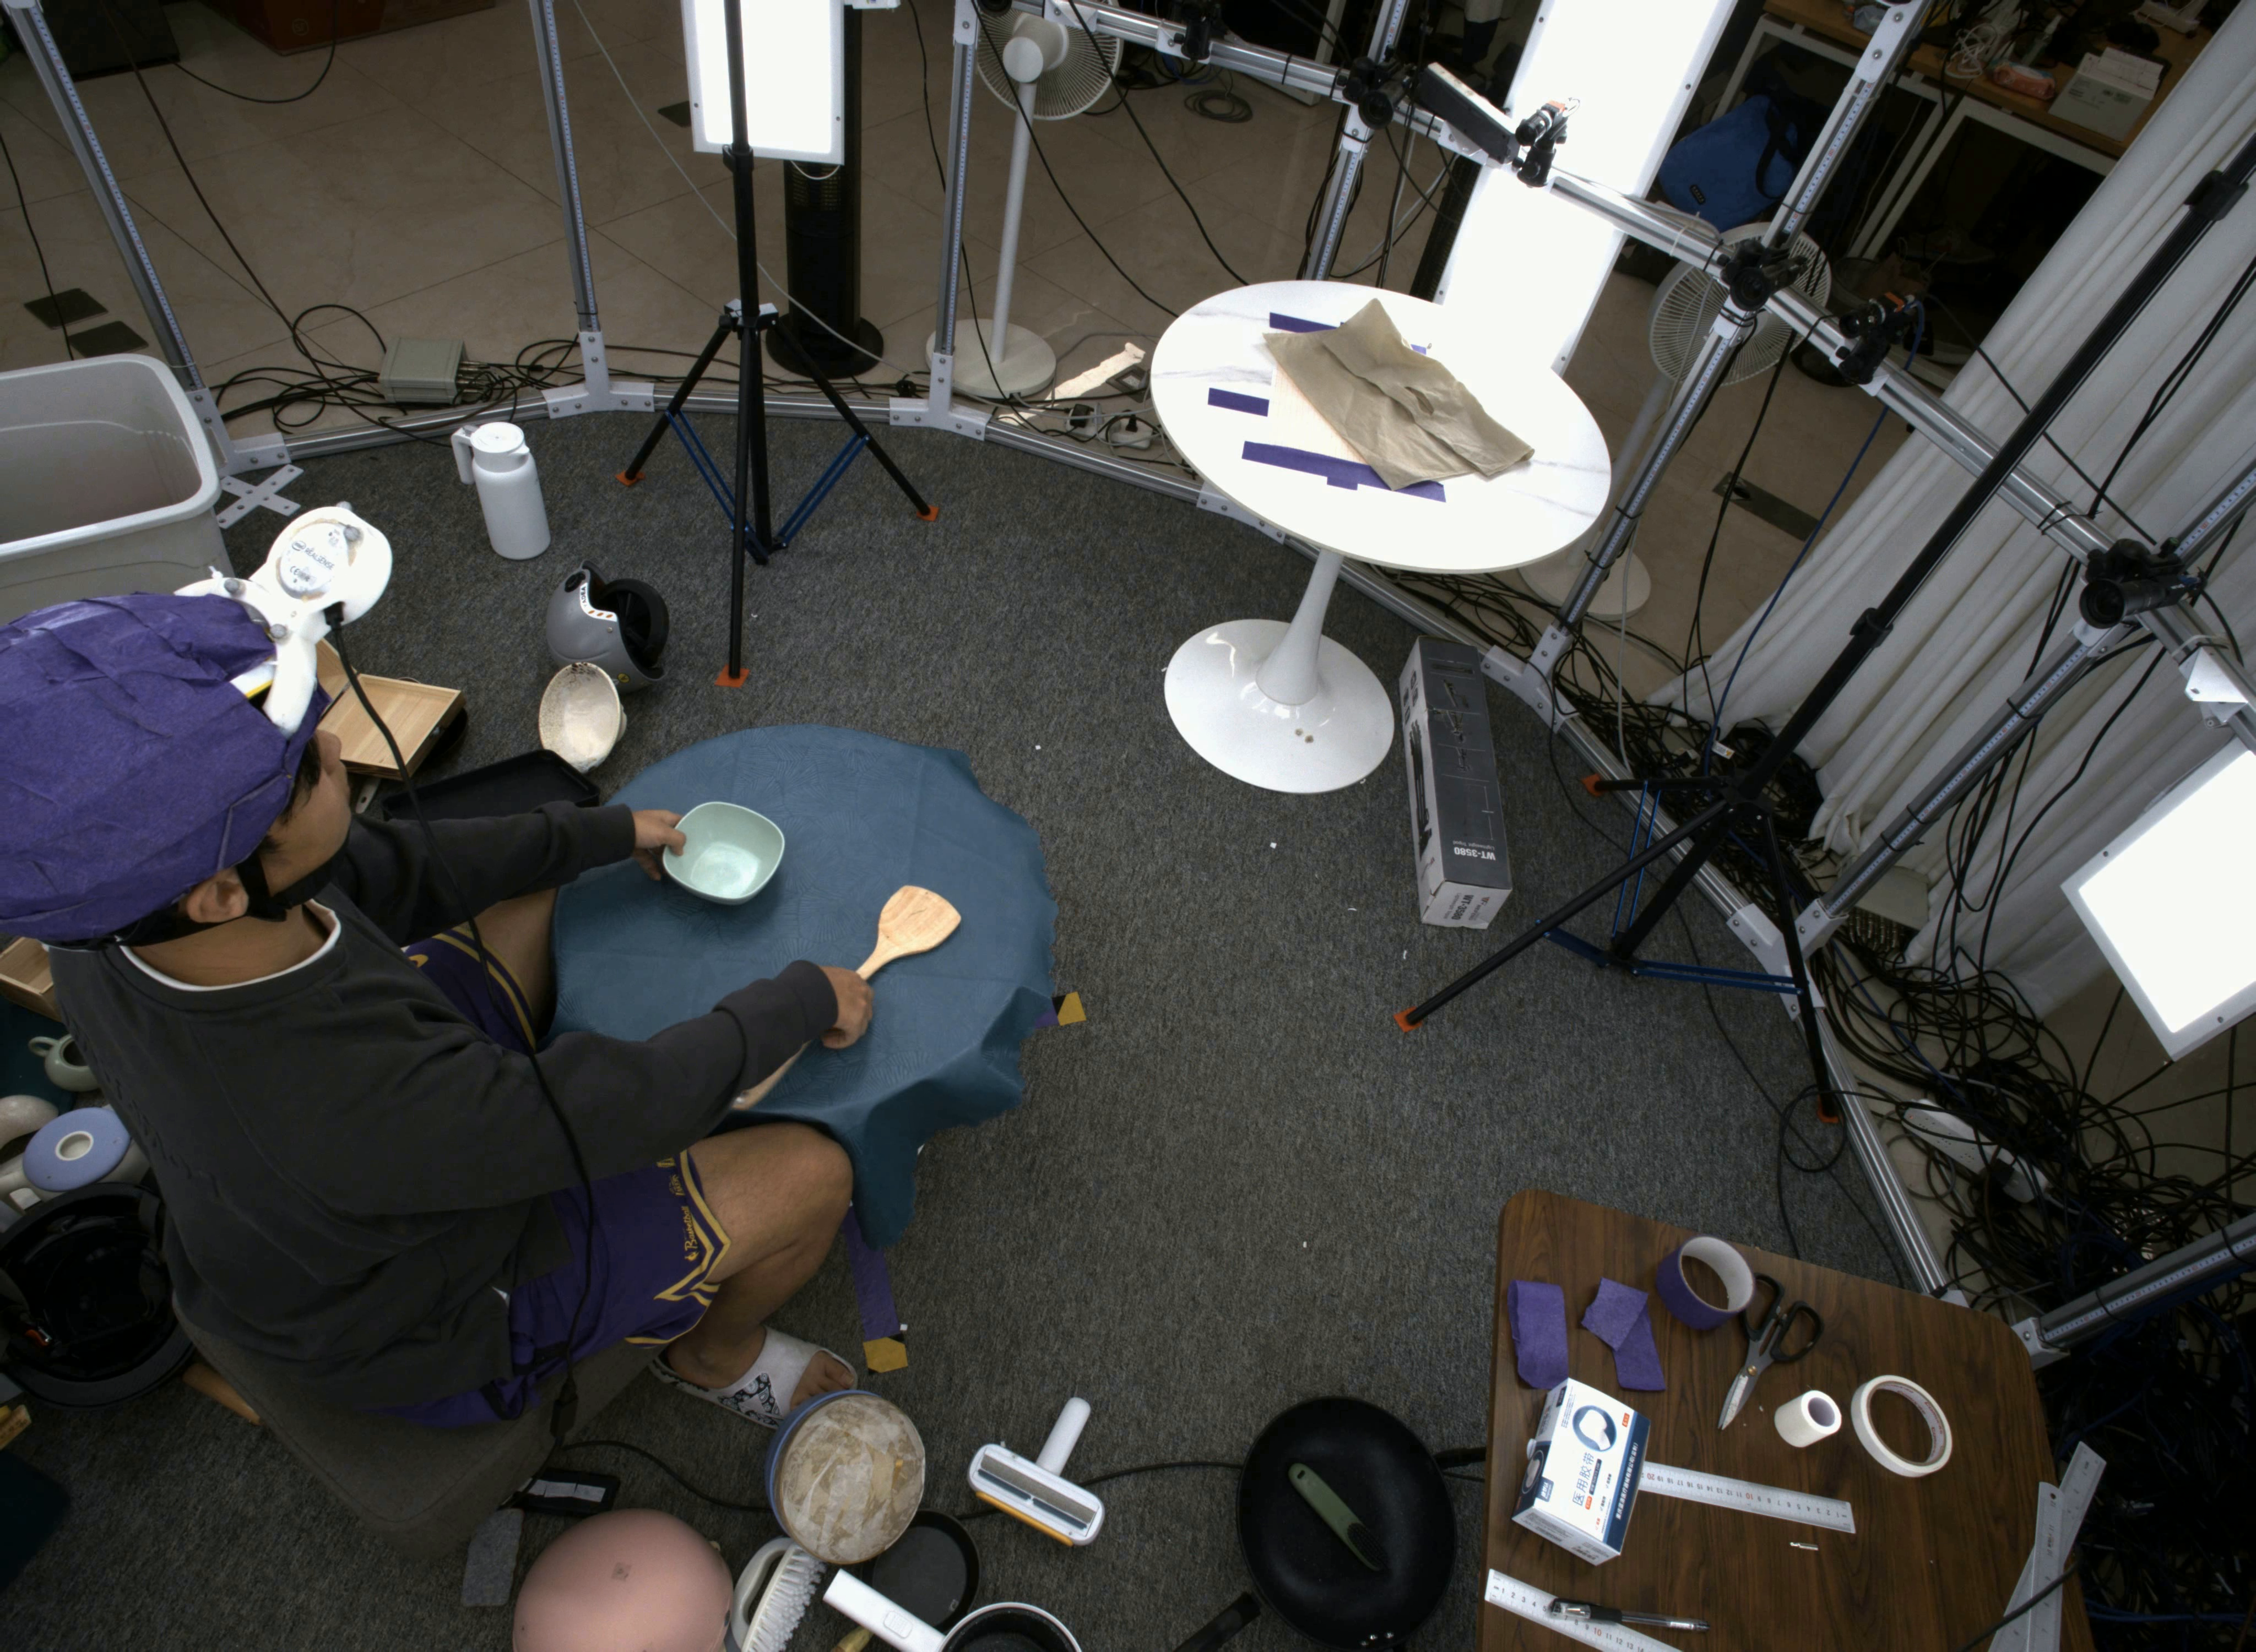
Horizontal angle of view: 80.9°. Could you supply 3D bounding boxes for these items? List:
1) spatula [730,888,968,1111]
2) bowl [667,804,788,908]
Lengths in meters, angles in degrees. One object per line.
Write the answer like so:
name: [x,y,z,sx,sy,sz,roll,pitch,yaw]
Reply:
spatula: [-0.338,0.205,1.575,0.094,0.019,0.390,32,48,13]
bowl: [-0.506,0.047,1.635,0.151,0.059,0.149,10,51,-11]
